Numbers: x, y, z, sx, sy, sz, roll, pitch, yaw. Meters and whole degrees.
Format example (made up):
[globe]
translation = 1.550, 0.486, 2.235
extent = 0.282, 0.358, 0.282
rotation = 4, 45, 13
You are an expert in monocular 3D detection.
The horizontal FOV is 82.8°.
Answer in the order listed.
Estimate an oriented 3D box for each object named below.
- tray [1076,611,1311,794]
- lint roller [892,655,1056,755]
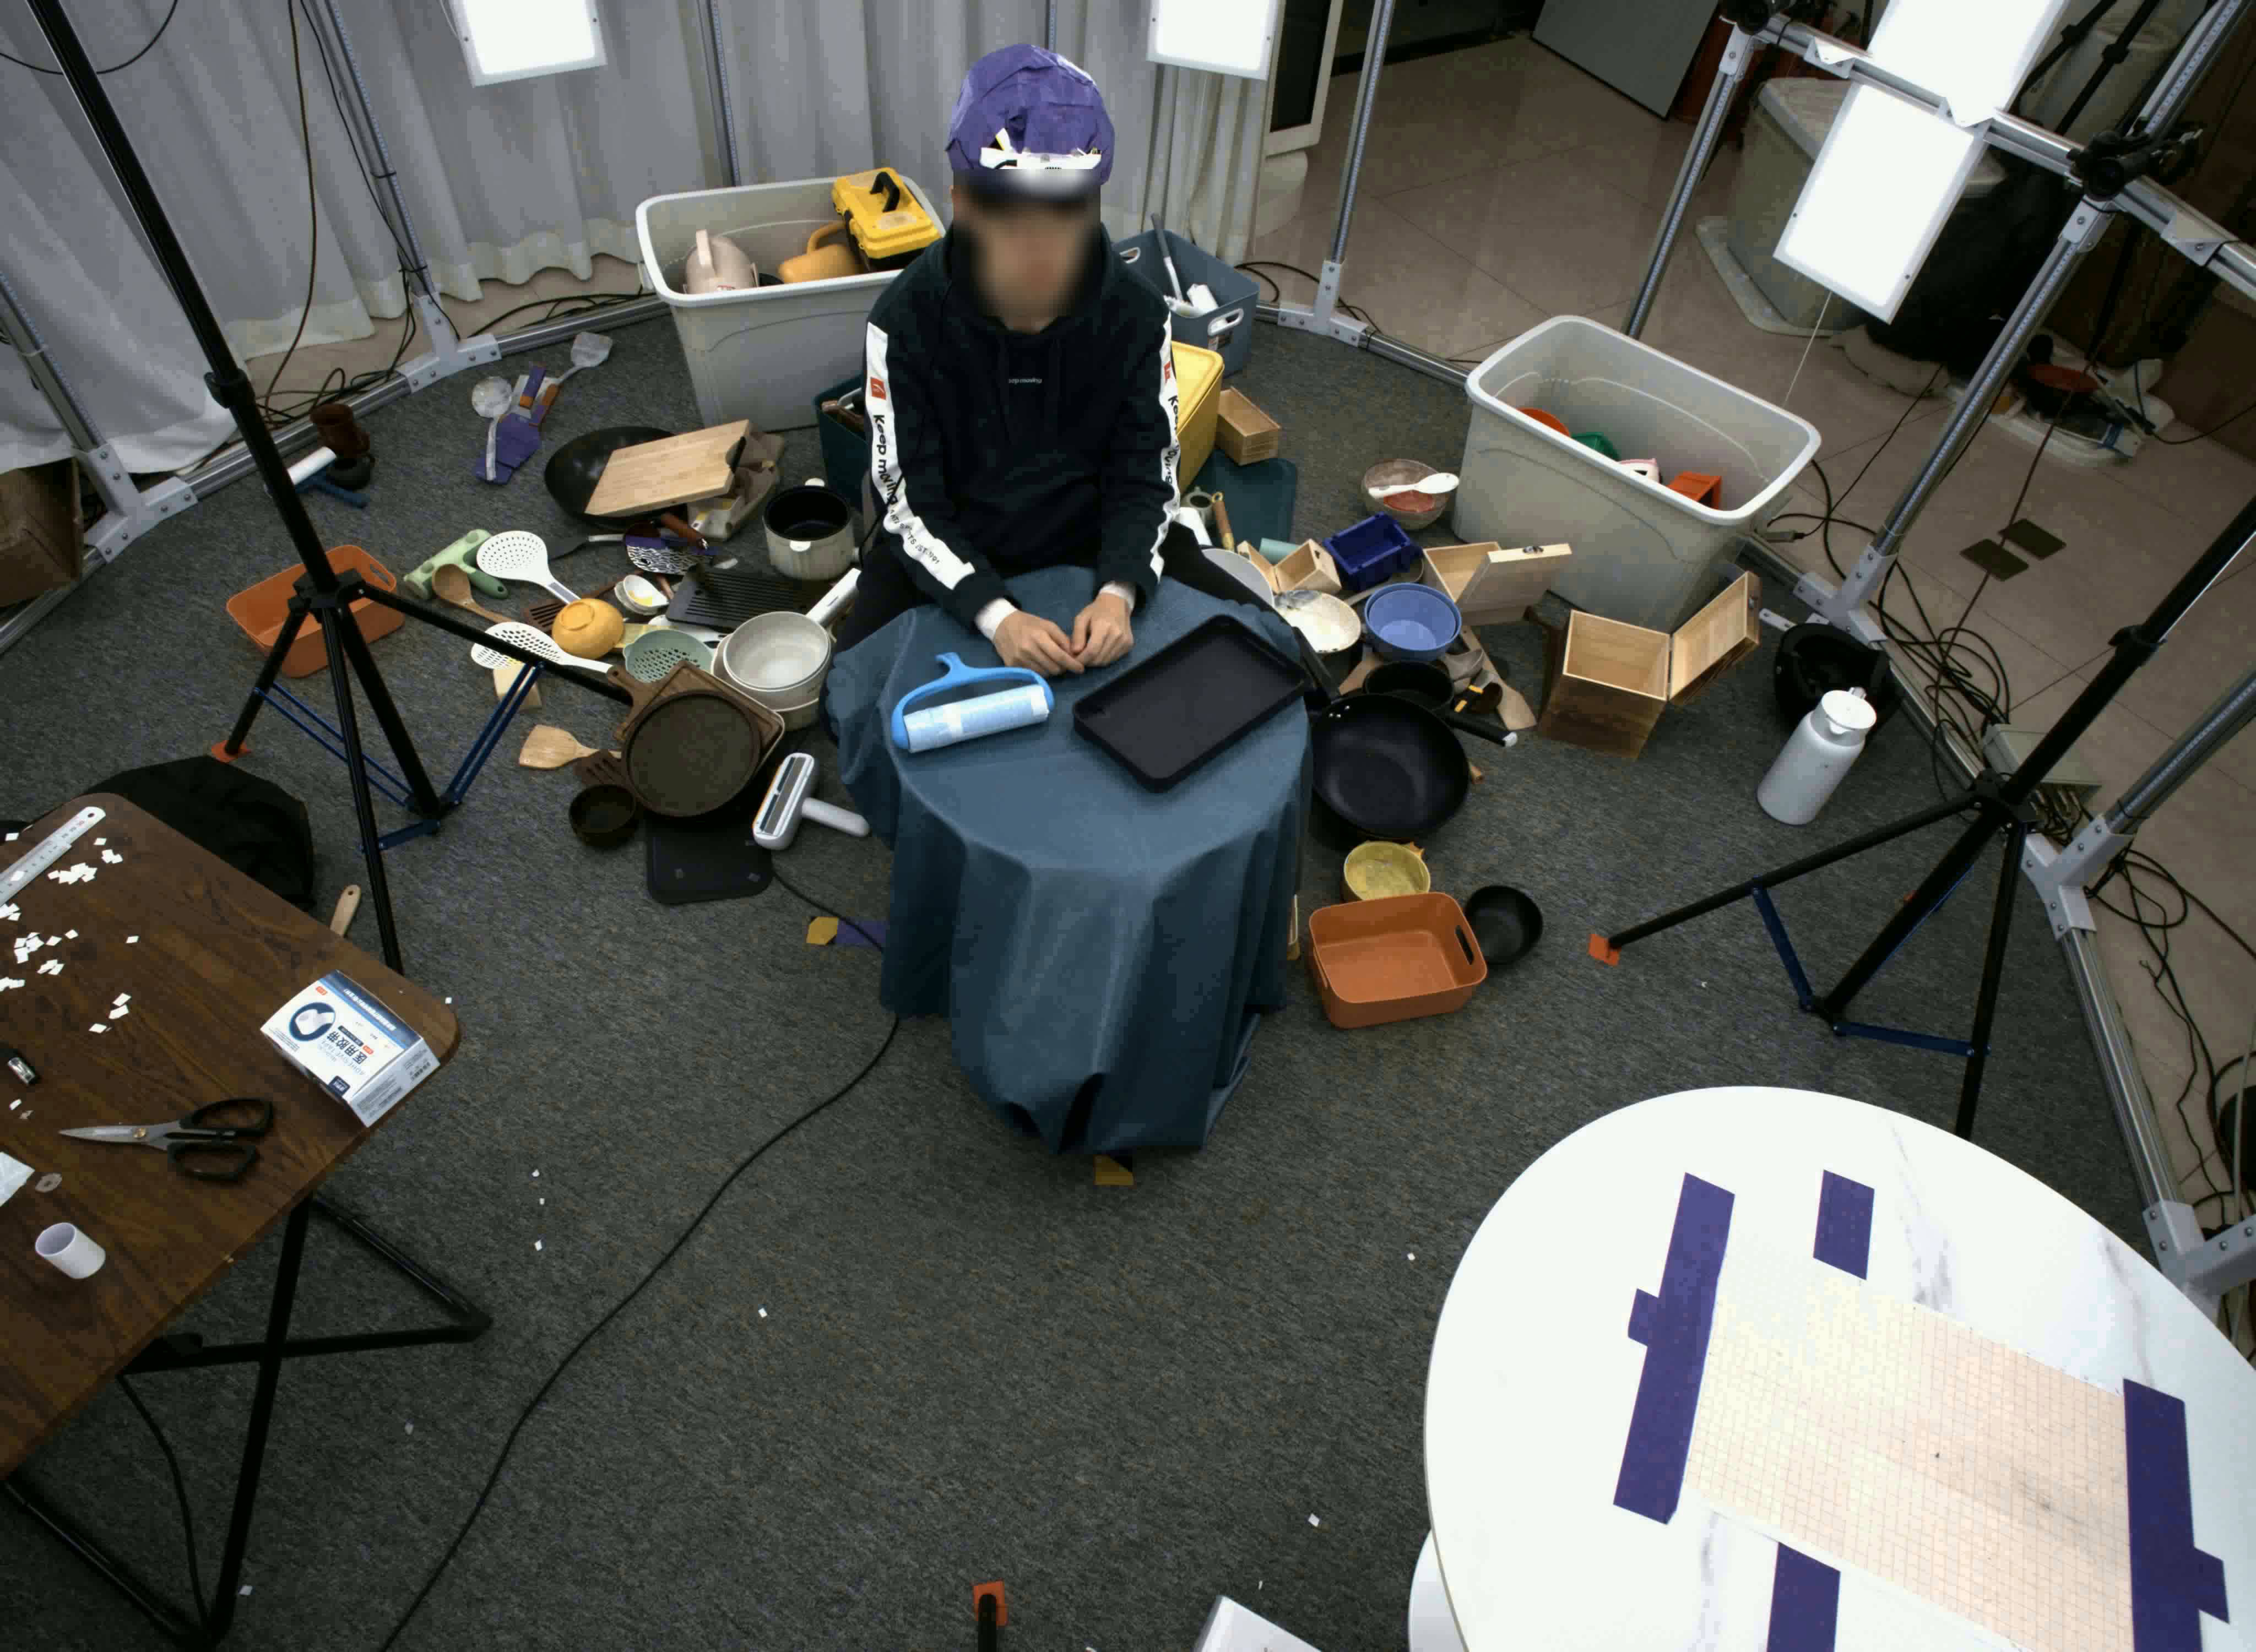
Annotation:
[tray]
translation = 0.094, -0.180, 1.808
extent = 0.187, 0.036, 0.321
rotation = 38, 58, 26
[lint roller]
translation = -0.231, -0.190, 1.782
extent = 0.229, 0.066, 0.184
rotation = -18, 54, -16
